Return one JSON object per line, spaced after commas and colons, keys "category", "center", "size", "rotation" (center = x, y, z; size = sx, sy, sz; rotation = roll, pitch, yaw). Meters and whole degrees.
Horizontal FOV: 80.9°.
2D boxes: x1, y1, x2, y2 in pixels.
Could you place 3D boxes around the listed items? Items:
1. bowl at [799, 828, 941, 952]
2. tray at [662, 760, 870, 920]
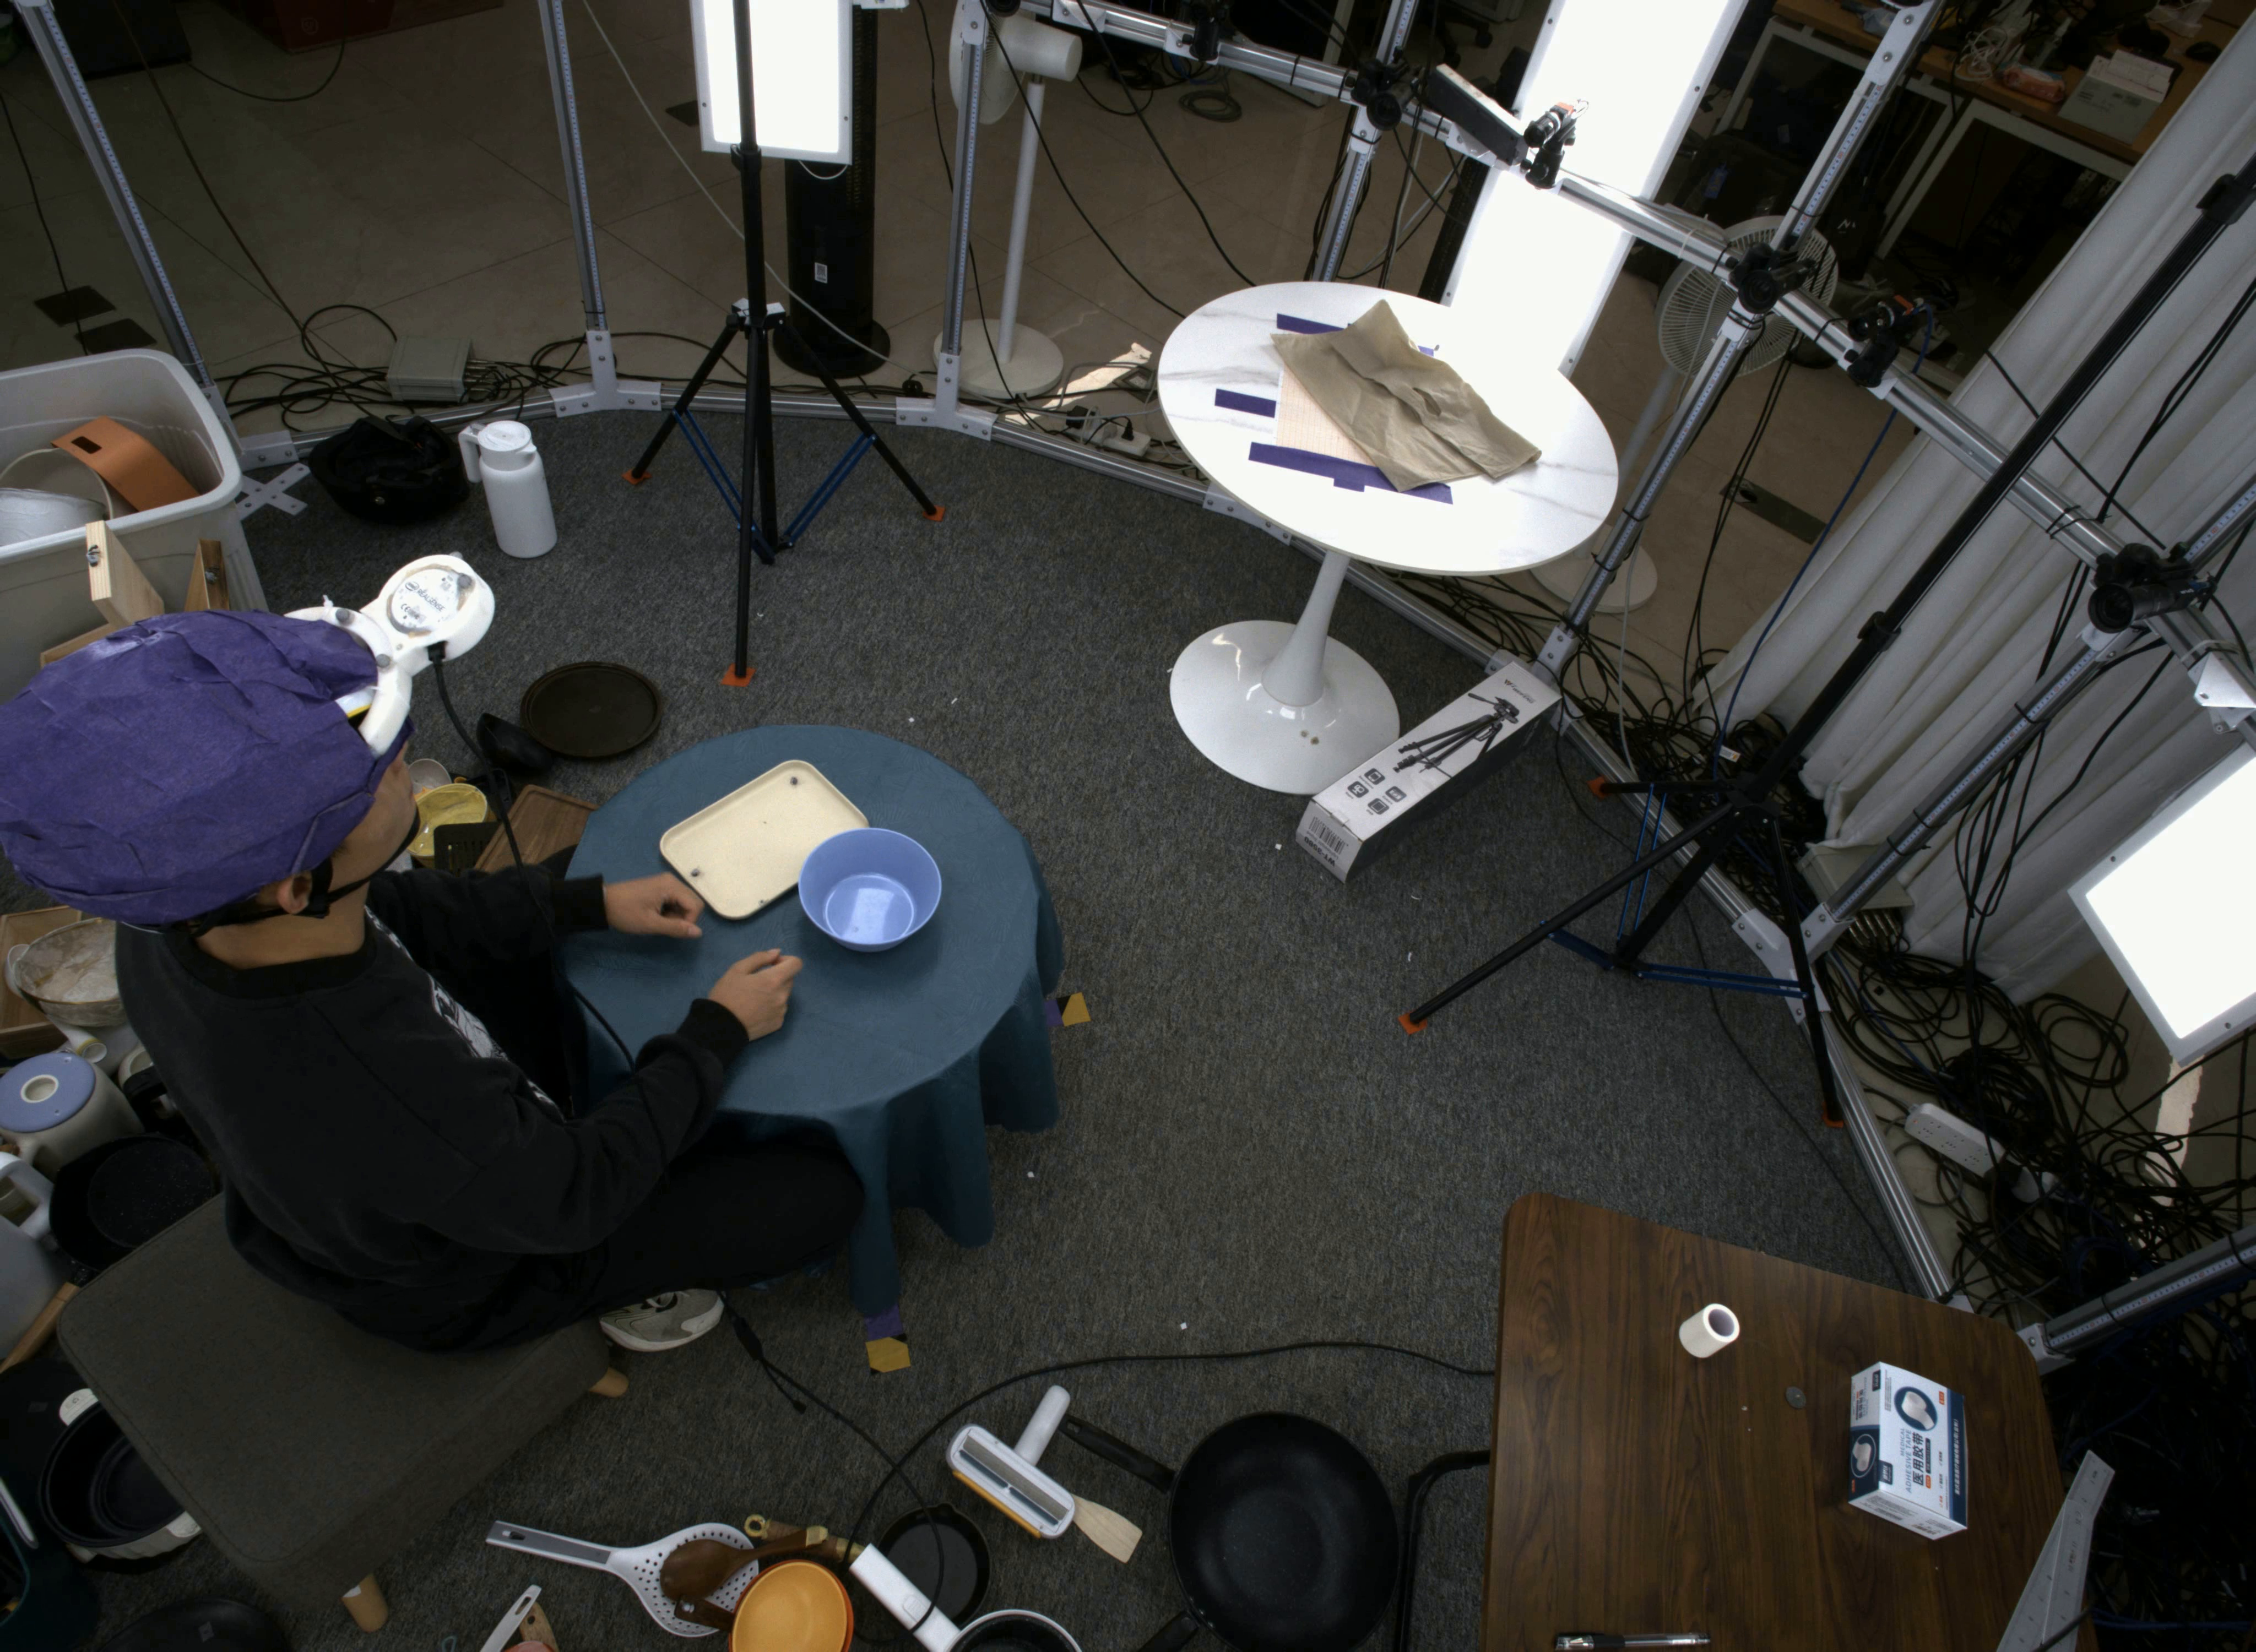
{"category": "bowl", "center": [-0.324, 0.091, 1.642], "size": [0.175, 0.072, 0.173], "rotation": [7, 52, -8]}
{"category": "tray", "center": [-0.472, 0.015, 1.694], "size": [0.167, 0.018, 0.240], "rotation": [41, 55, 17]}
